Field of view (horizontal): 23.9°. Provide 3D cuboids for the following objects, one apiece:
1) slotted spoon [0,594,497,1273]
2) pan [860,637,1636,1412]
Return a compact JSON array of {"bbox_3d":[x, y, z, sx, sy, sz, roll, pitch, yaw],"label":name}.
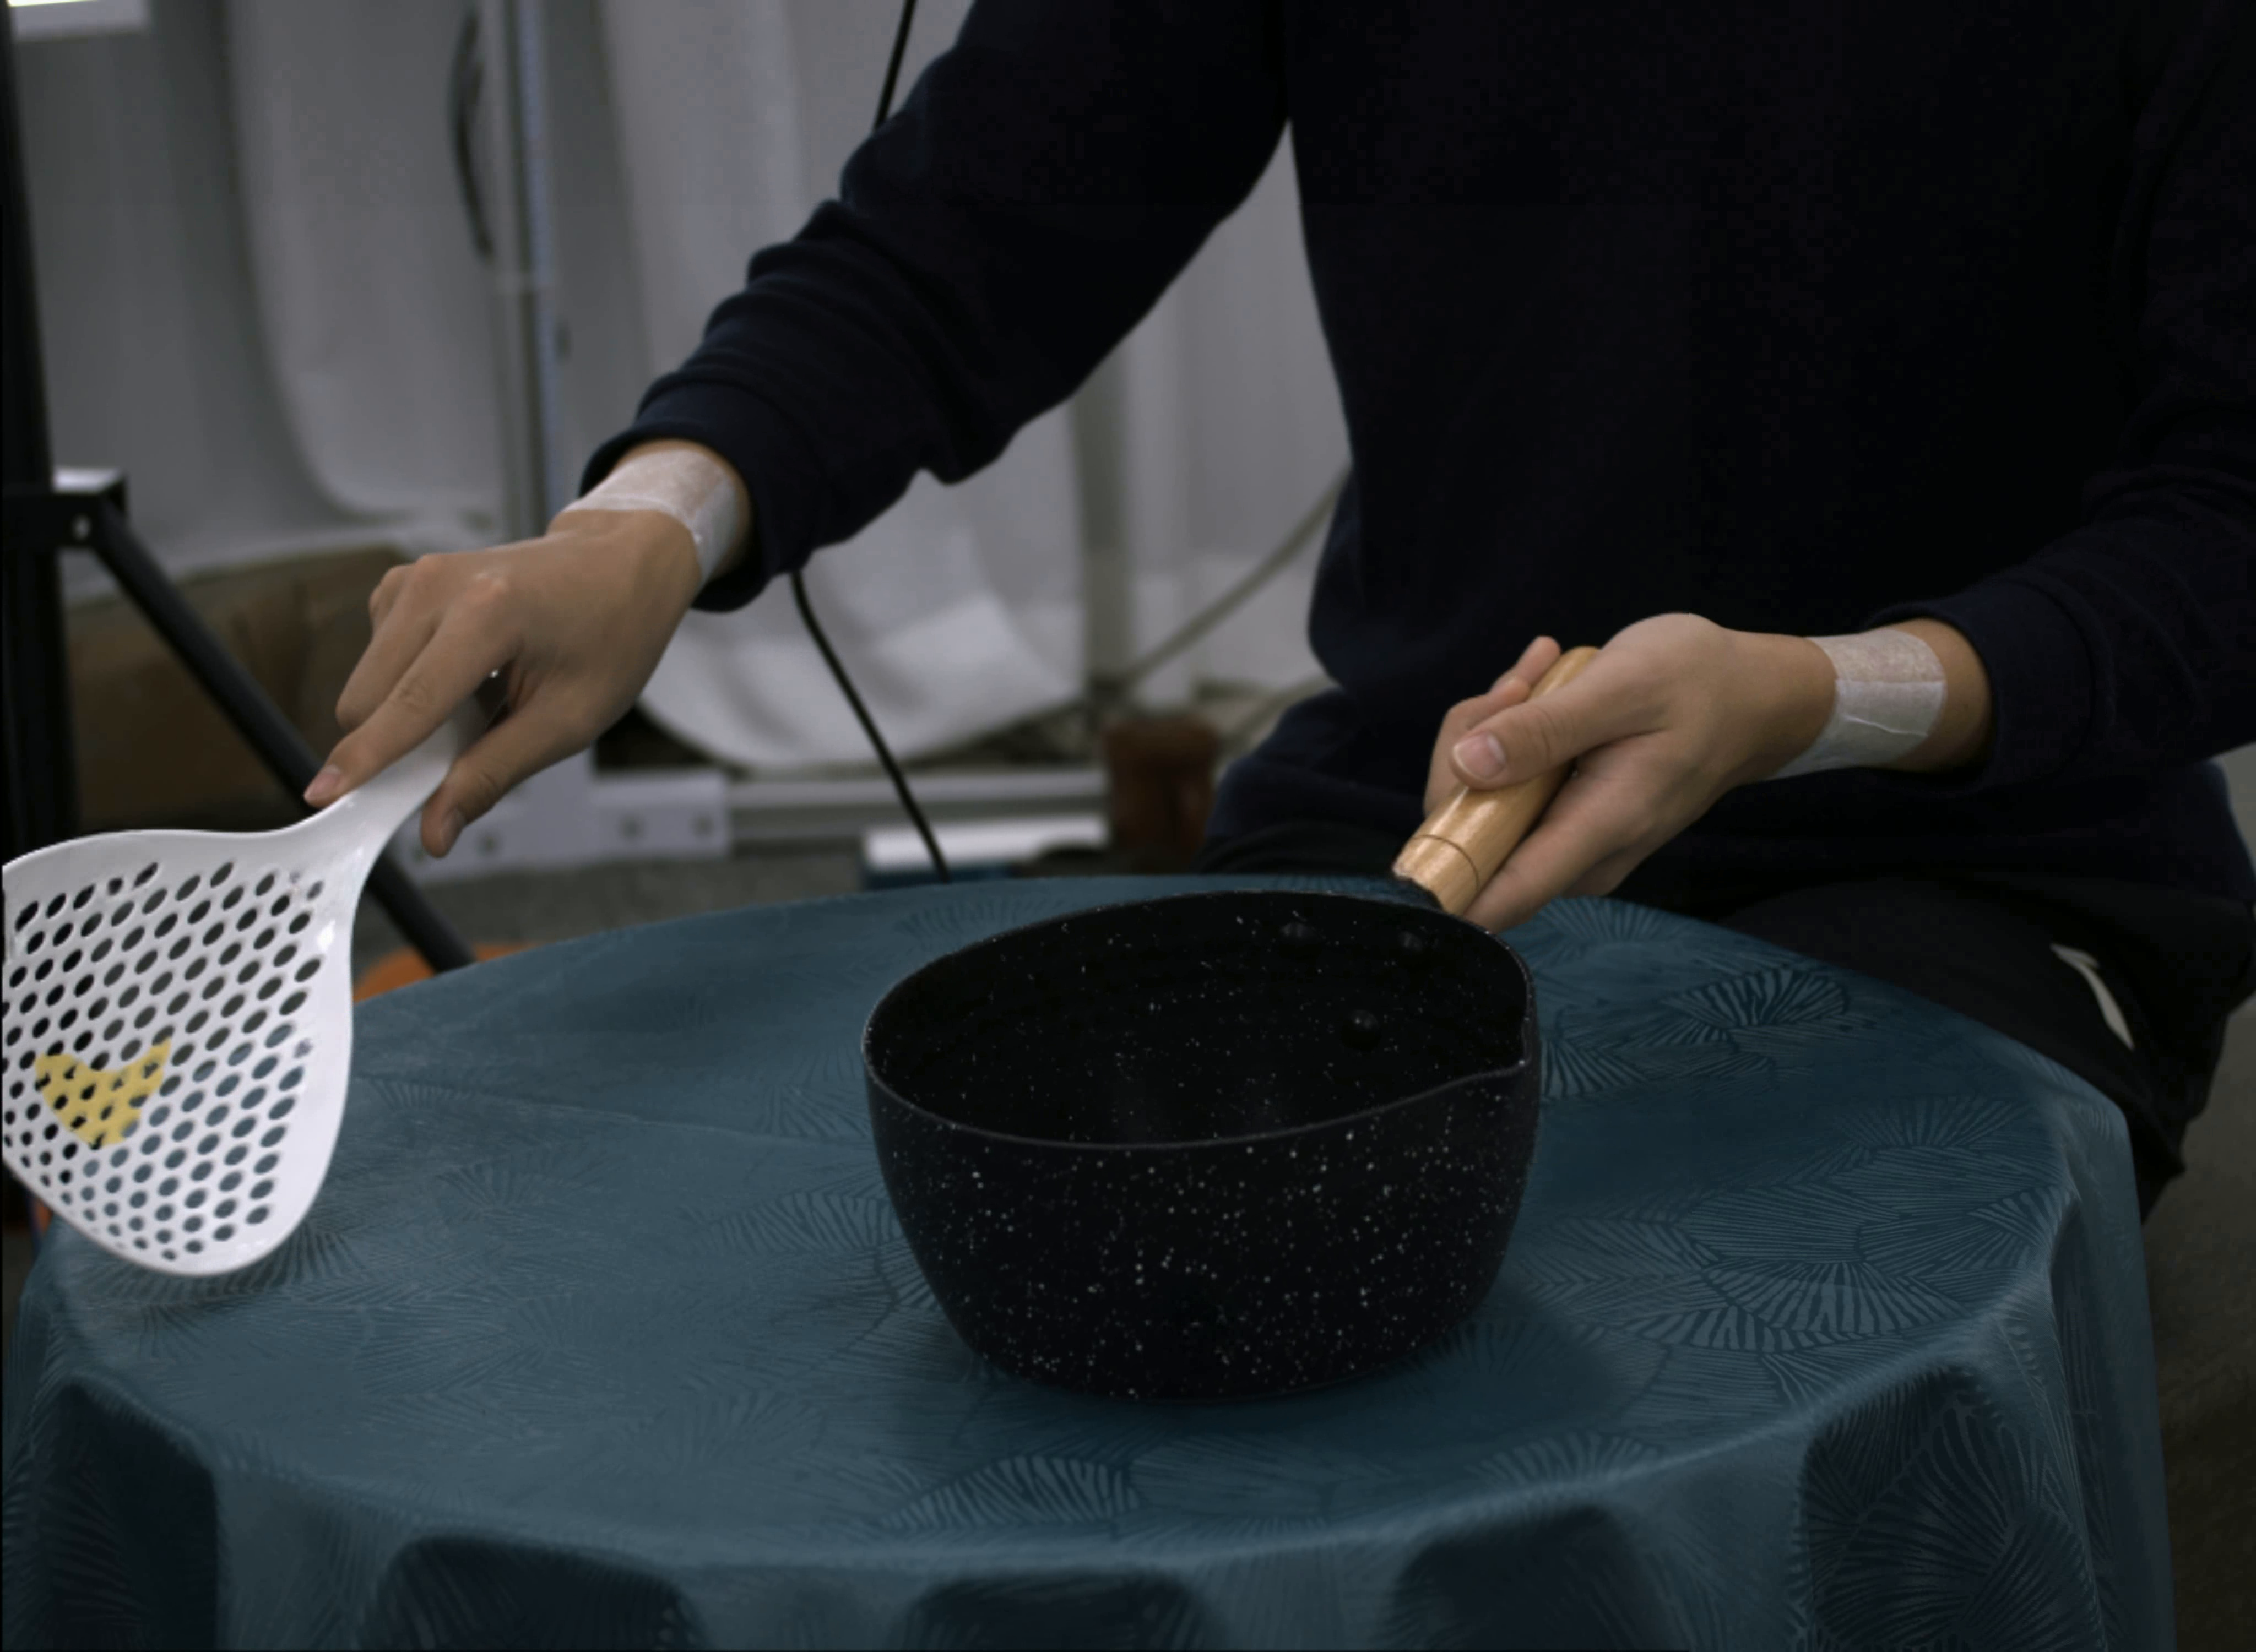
[{"bbox_3d":[-0.253,0.015,1.618,0.051,0.136,0.346,-38,11,38],"label":"slotted spoon"},{"bbox_3d":[0.061,0.051,1.505,0.211,0.108,0.337,5,24,31],"label":"pan"}]
